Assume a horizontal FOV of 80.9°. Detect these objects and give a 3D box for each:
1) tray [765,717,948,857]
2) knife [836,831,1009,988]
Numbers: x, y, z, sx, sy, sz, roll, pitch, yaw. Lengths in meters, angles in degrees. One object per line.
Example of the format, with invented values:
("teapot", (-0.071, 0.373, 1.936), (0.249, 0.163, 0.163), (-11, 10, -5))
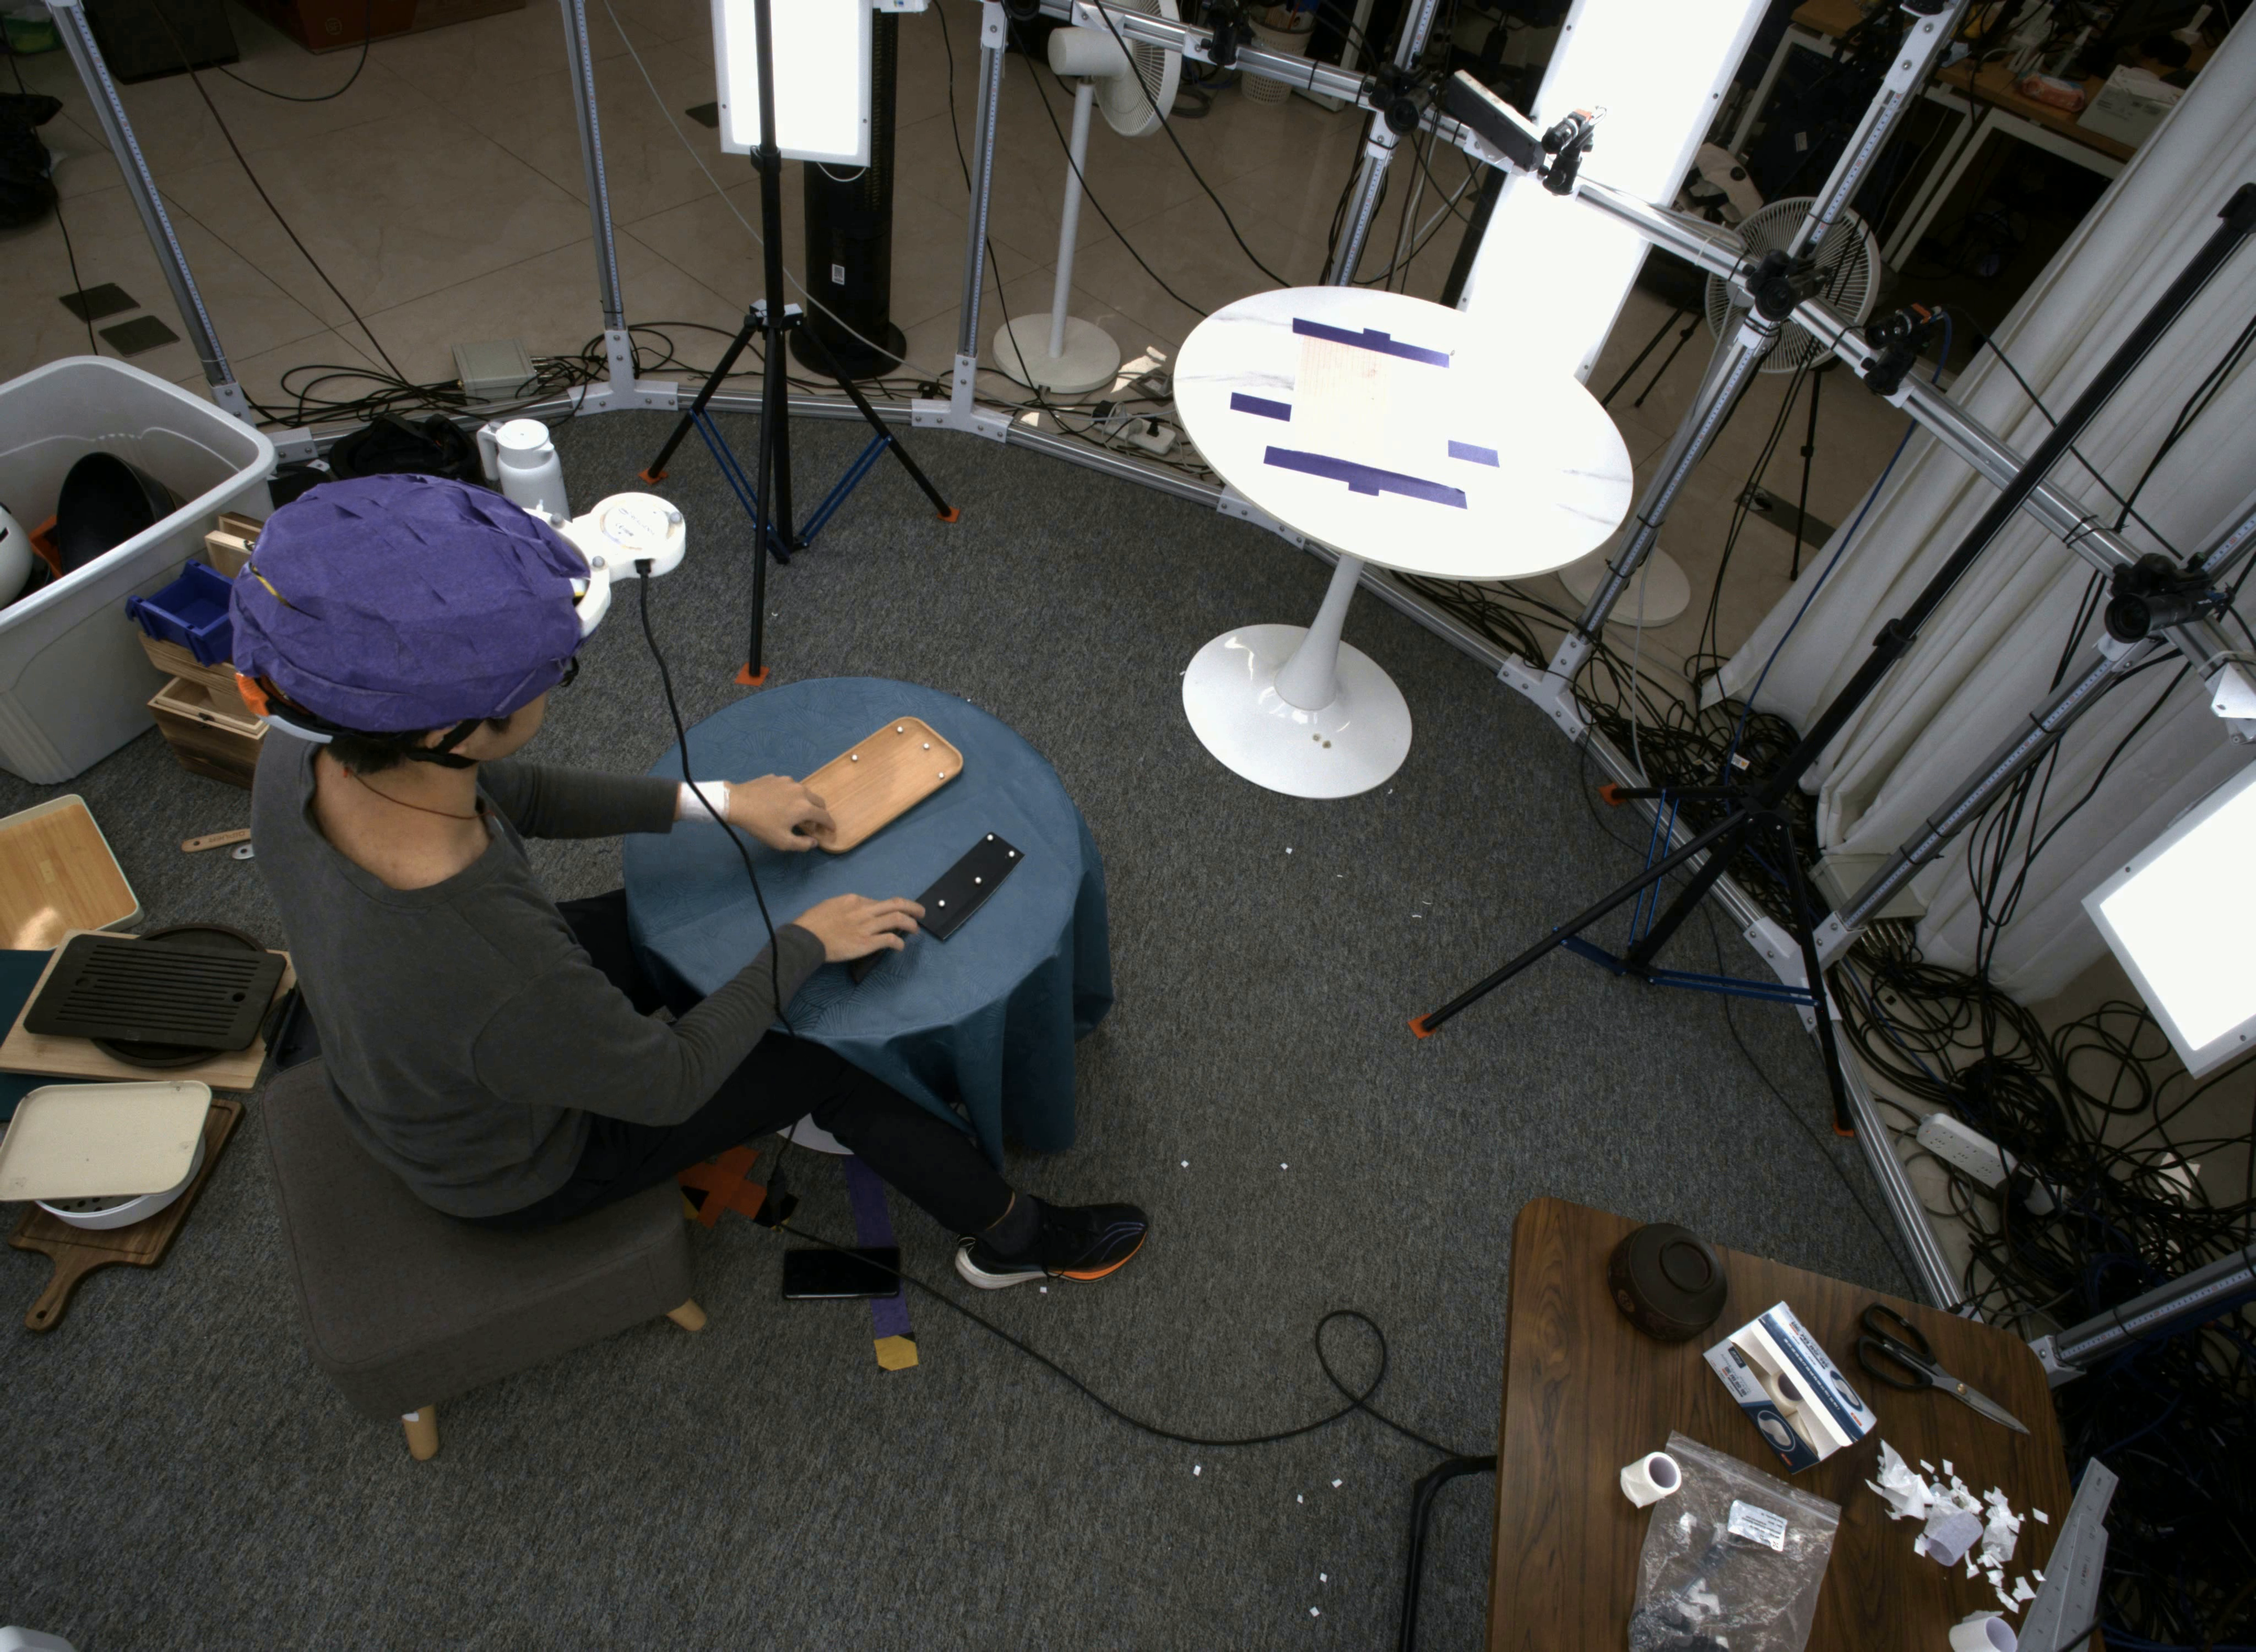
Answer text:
("tray", (-0.370, -0.056, 1.781), (0.127, 0.023, 0.251), (38, 55, 18))
("knife", (-0.265, 0.107, 1.688), (0.079, 0.021, 0.302), (37, 52, 14))
